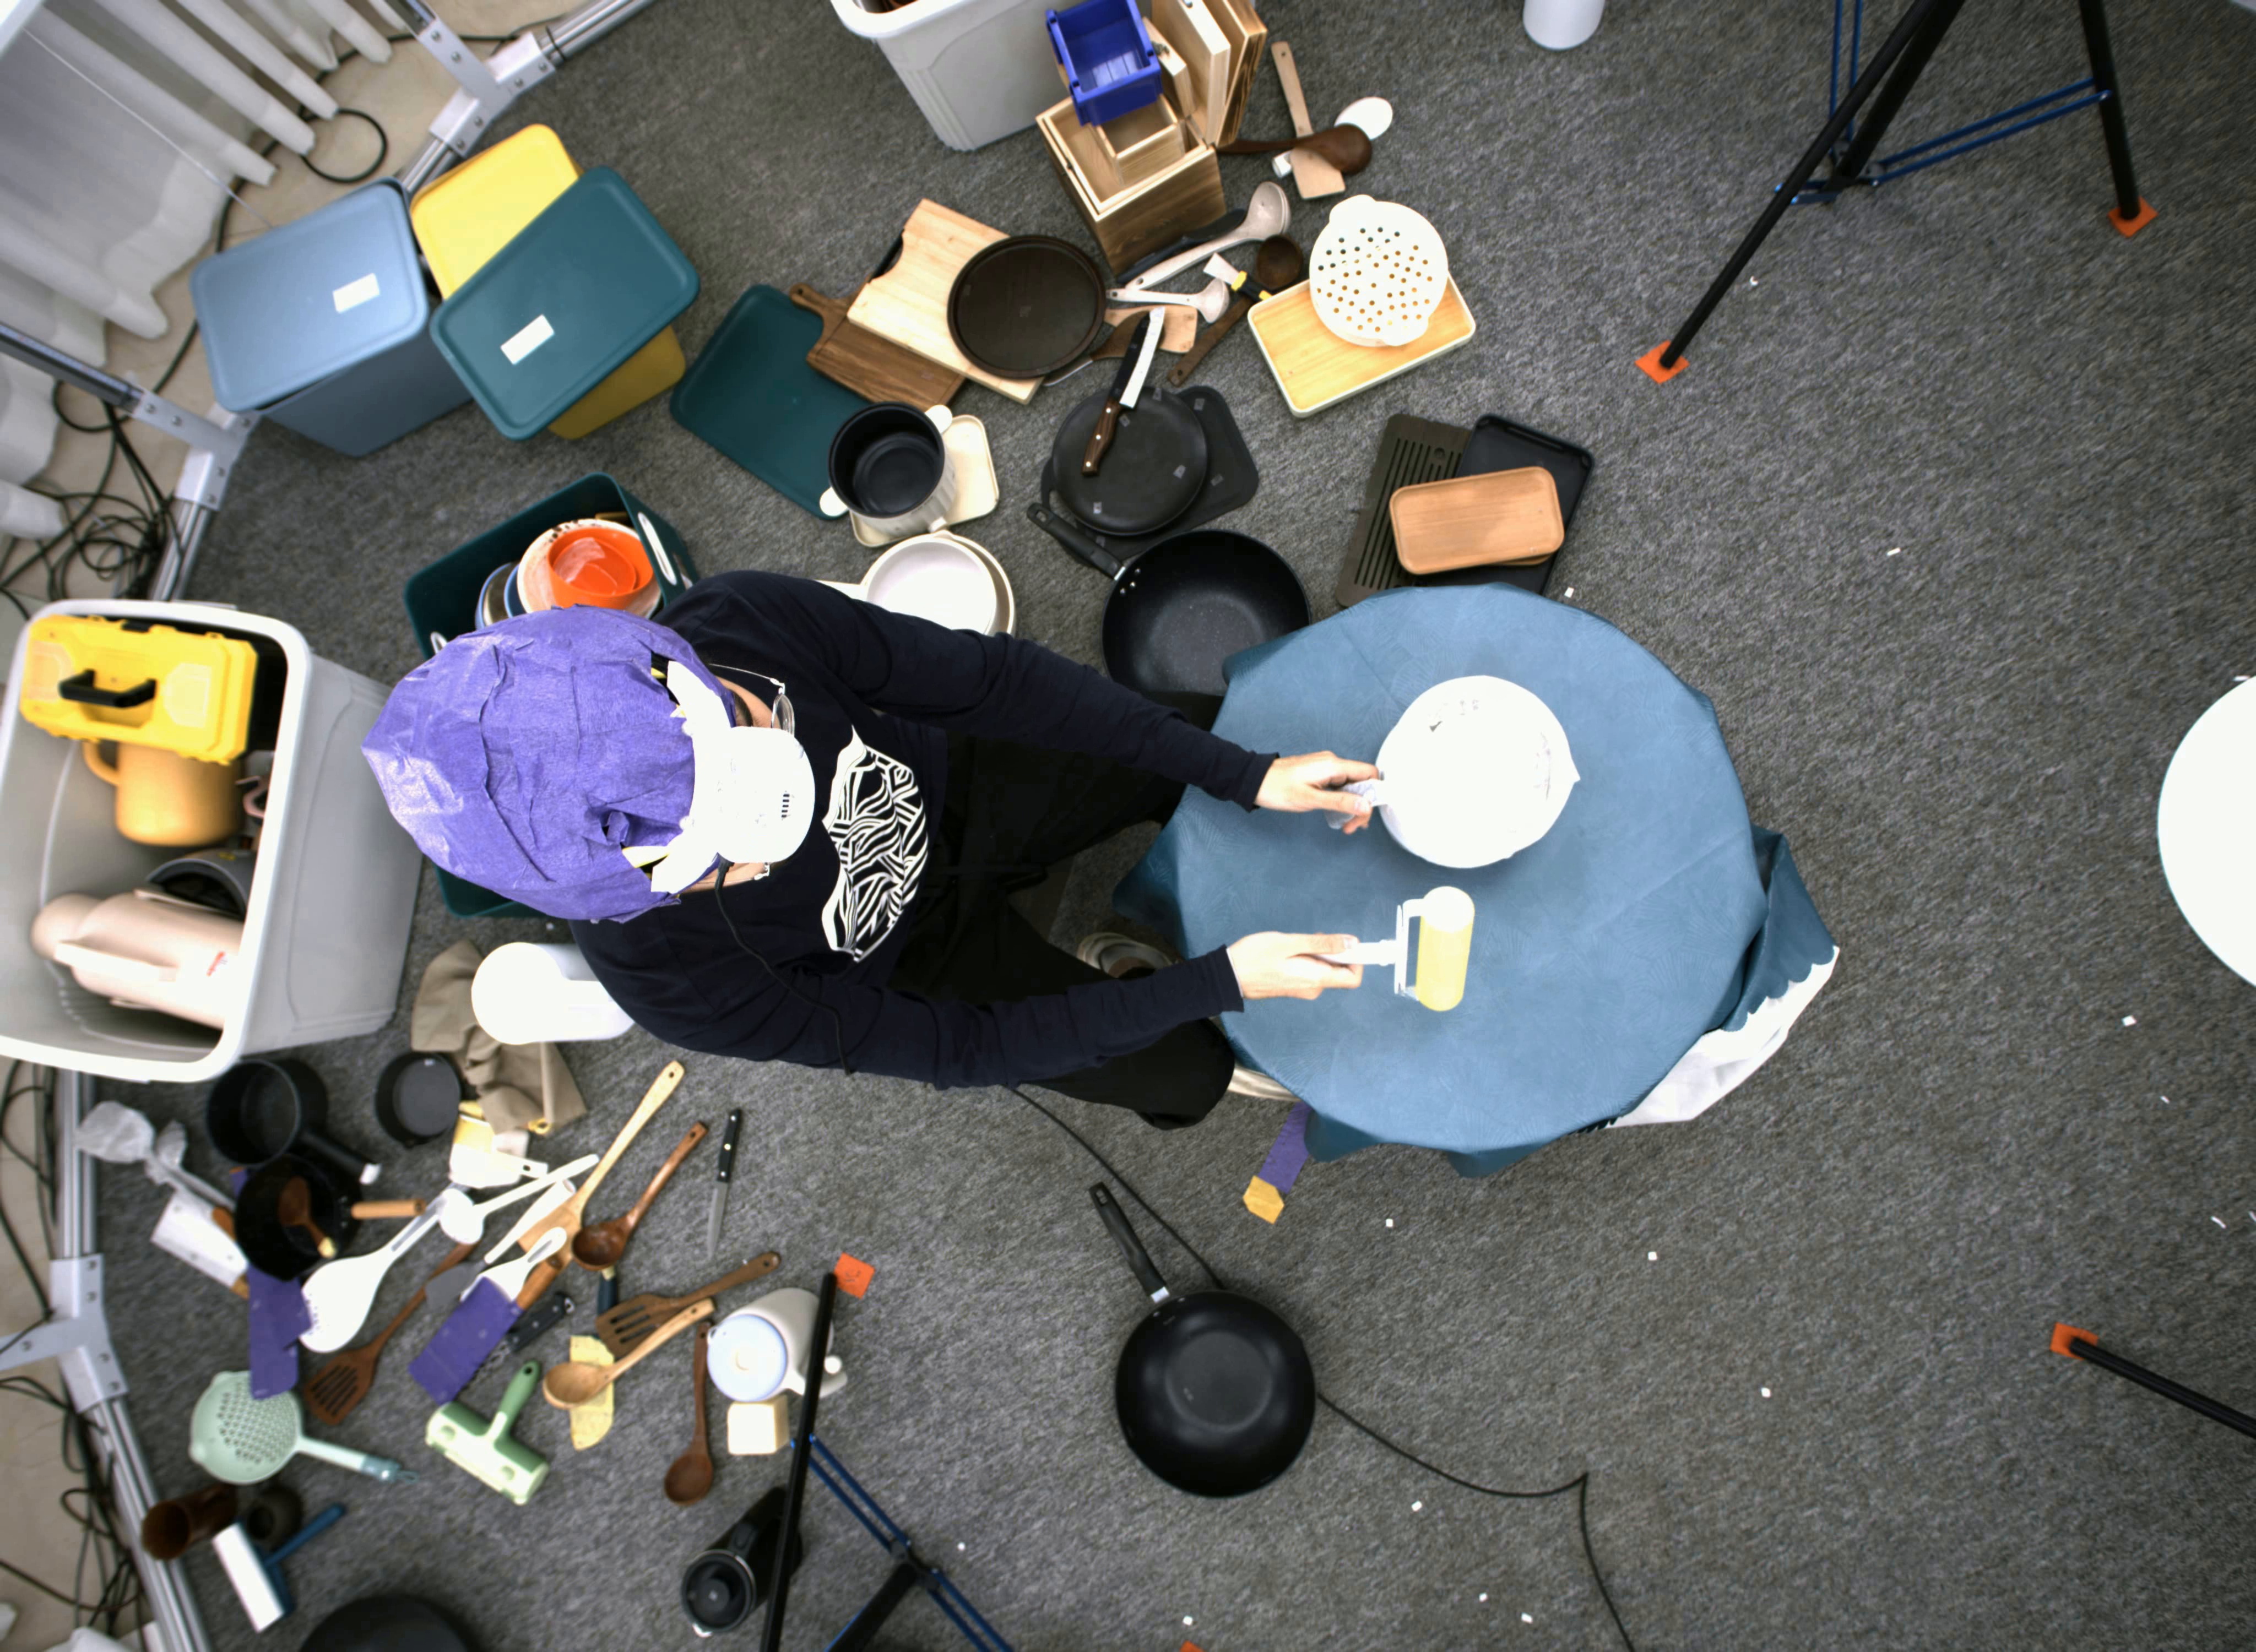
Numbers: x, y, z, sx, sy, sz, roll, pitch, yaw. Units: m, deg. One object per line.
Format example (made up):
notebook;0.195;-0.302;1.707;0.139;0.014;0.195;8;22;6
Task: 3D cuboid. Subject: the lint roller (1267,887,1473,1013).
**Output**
lint roller;0.230;0.130;1.319;0.193;0.178;0.050;-10;55;5

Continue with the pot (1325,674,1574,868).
pot;0.315;-0.044;1.379;0.234;0.137;0.177;-15;82;2
